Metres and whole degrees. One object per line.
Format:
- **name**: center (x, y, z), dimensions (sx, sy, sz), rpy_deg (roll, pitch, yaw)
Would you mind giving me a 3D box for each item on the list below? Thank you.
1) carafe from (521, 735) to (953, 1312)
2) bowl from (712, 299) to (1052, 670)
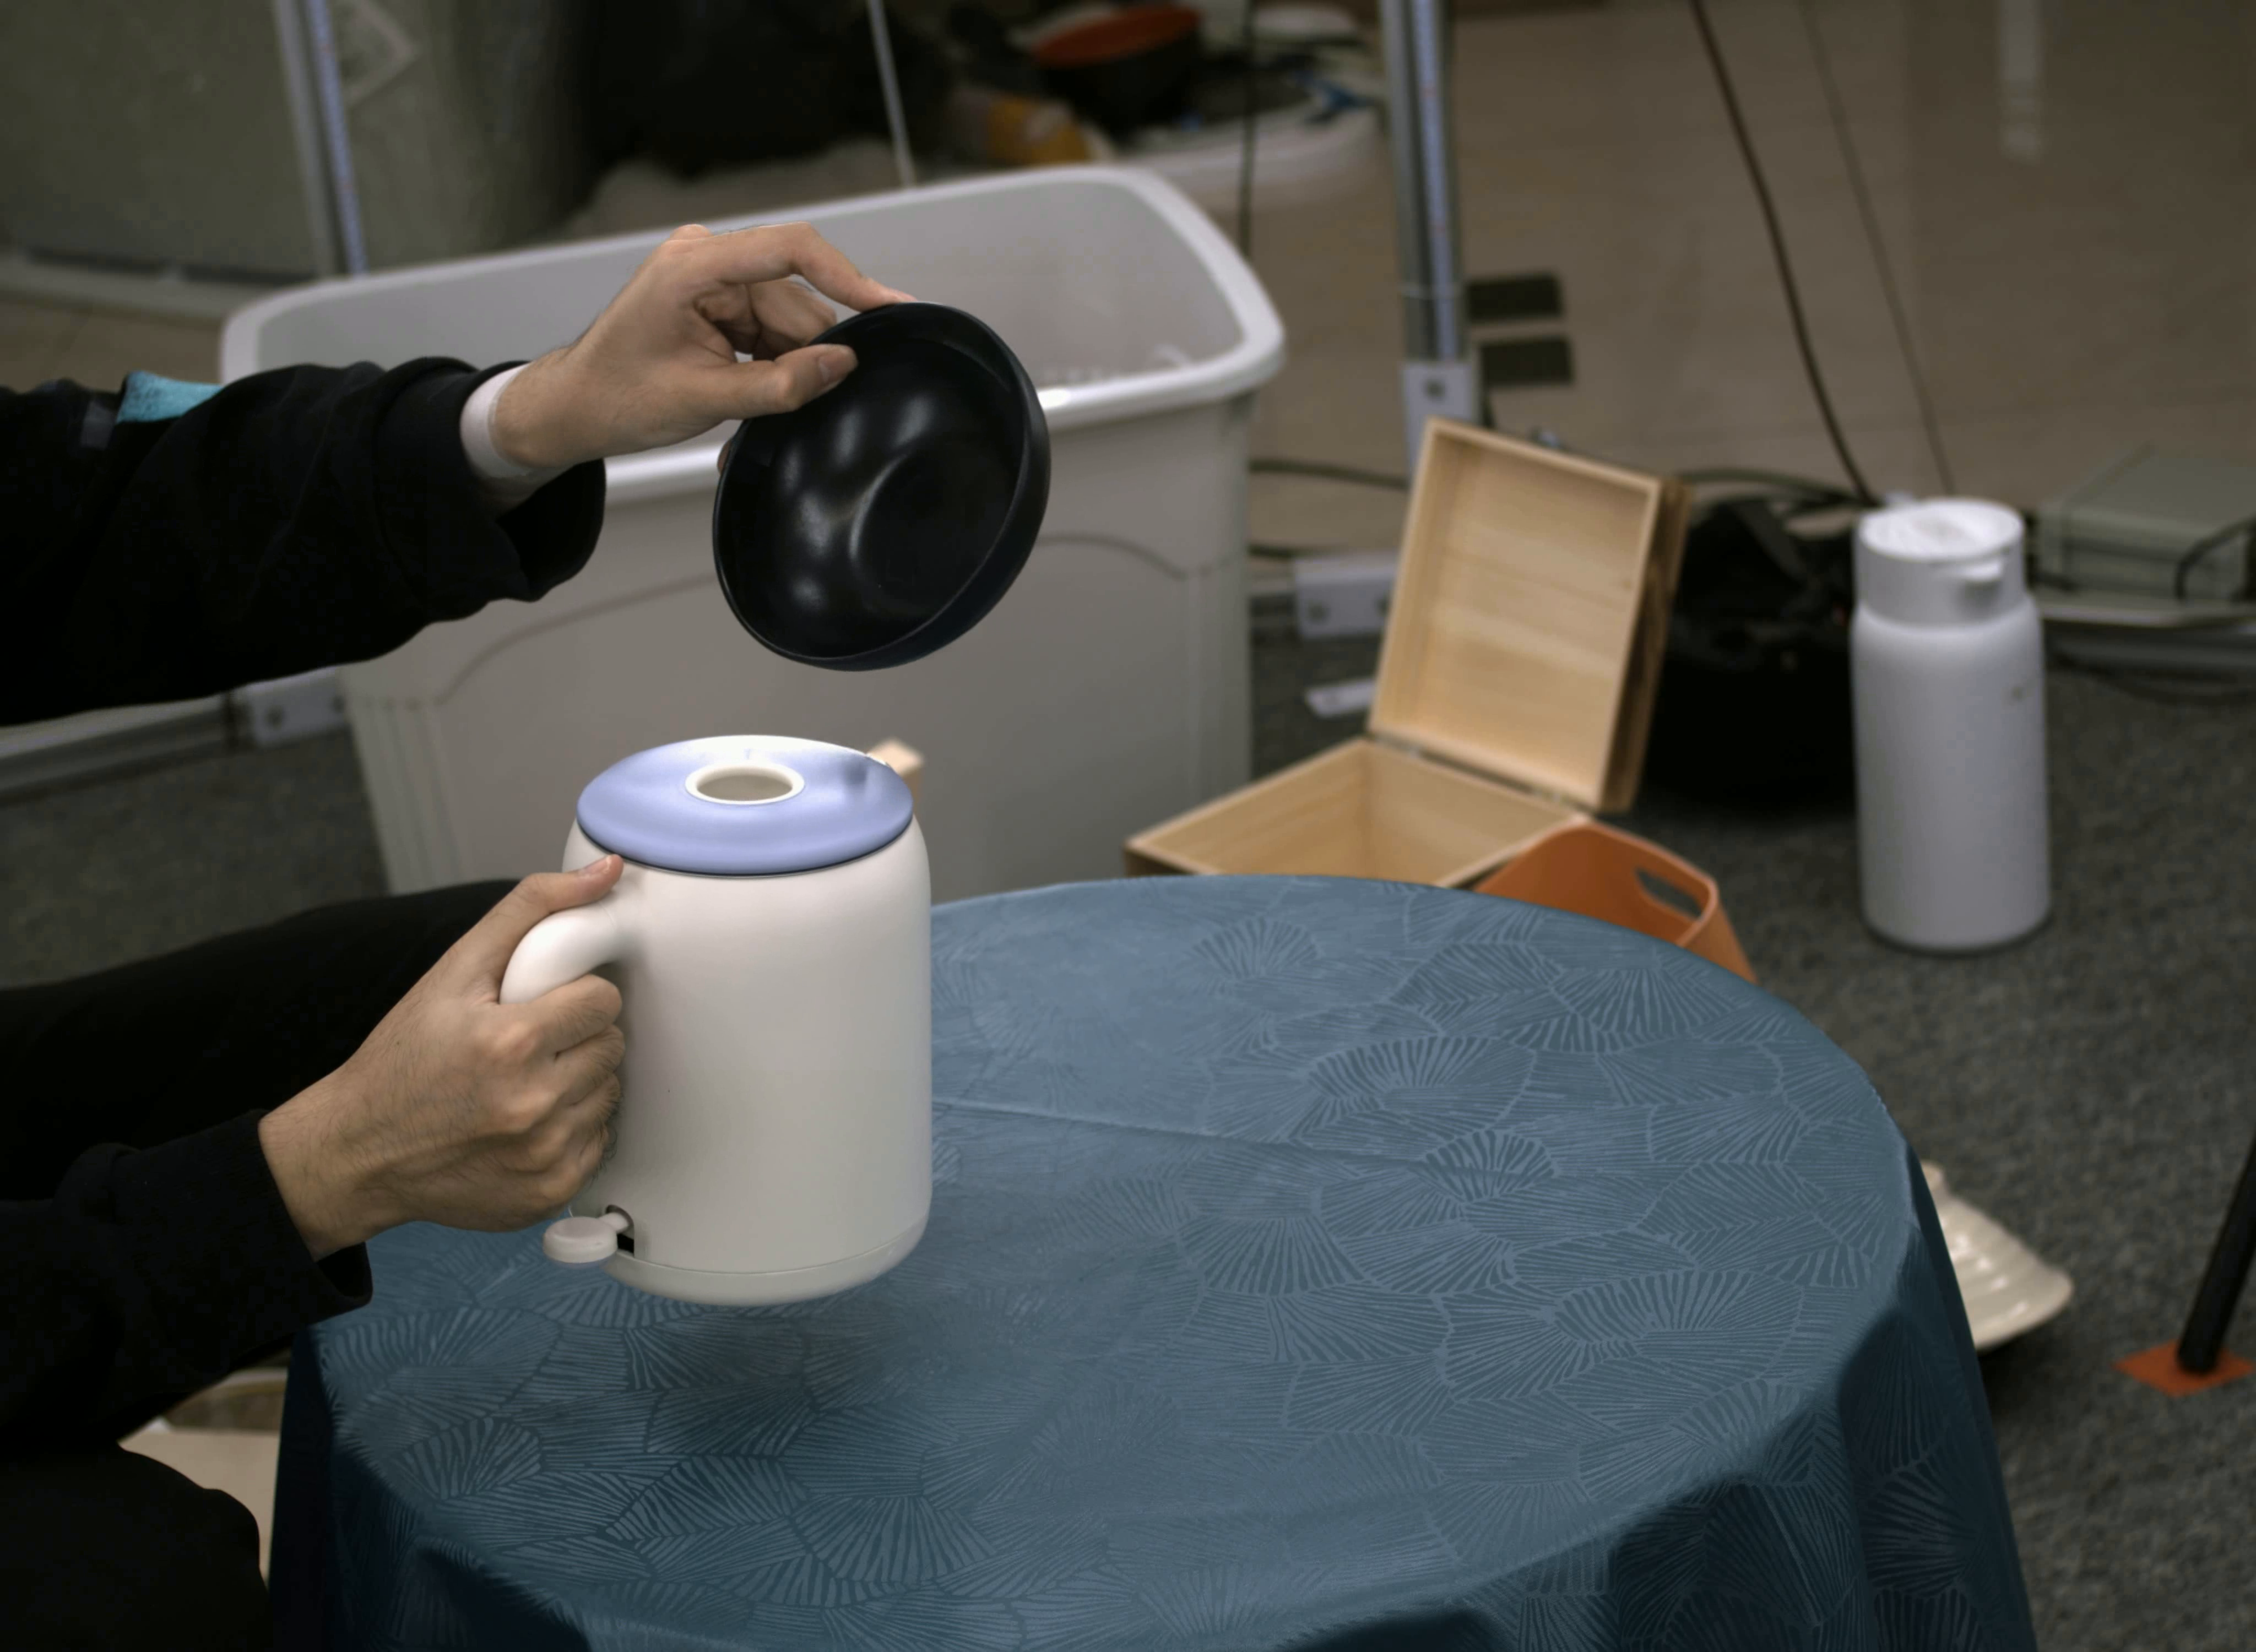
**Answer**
- **carafe**: center (-0.146, 0.077, 1.992), dimensions (0.131, 0.185, 0.189), rpy_deg (15, 31, 35)
- **bowl**: center (-0.079, -0.115, 2.012), dimensions (0.139, 0.139, 0.050), rpy_deg (16, -8, 39)
